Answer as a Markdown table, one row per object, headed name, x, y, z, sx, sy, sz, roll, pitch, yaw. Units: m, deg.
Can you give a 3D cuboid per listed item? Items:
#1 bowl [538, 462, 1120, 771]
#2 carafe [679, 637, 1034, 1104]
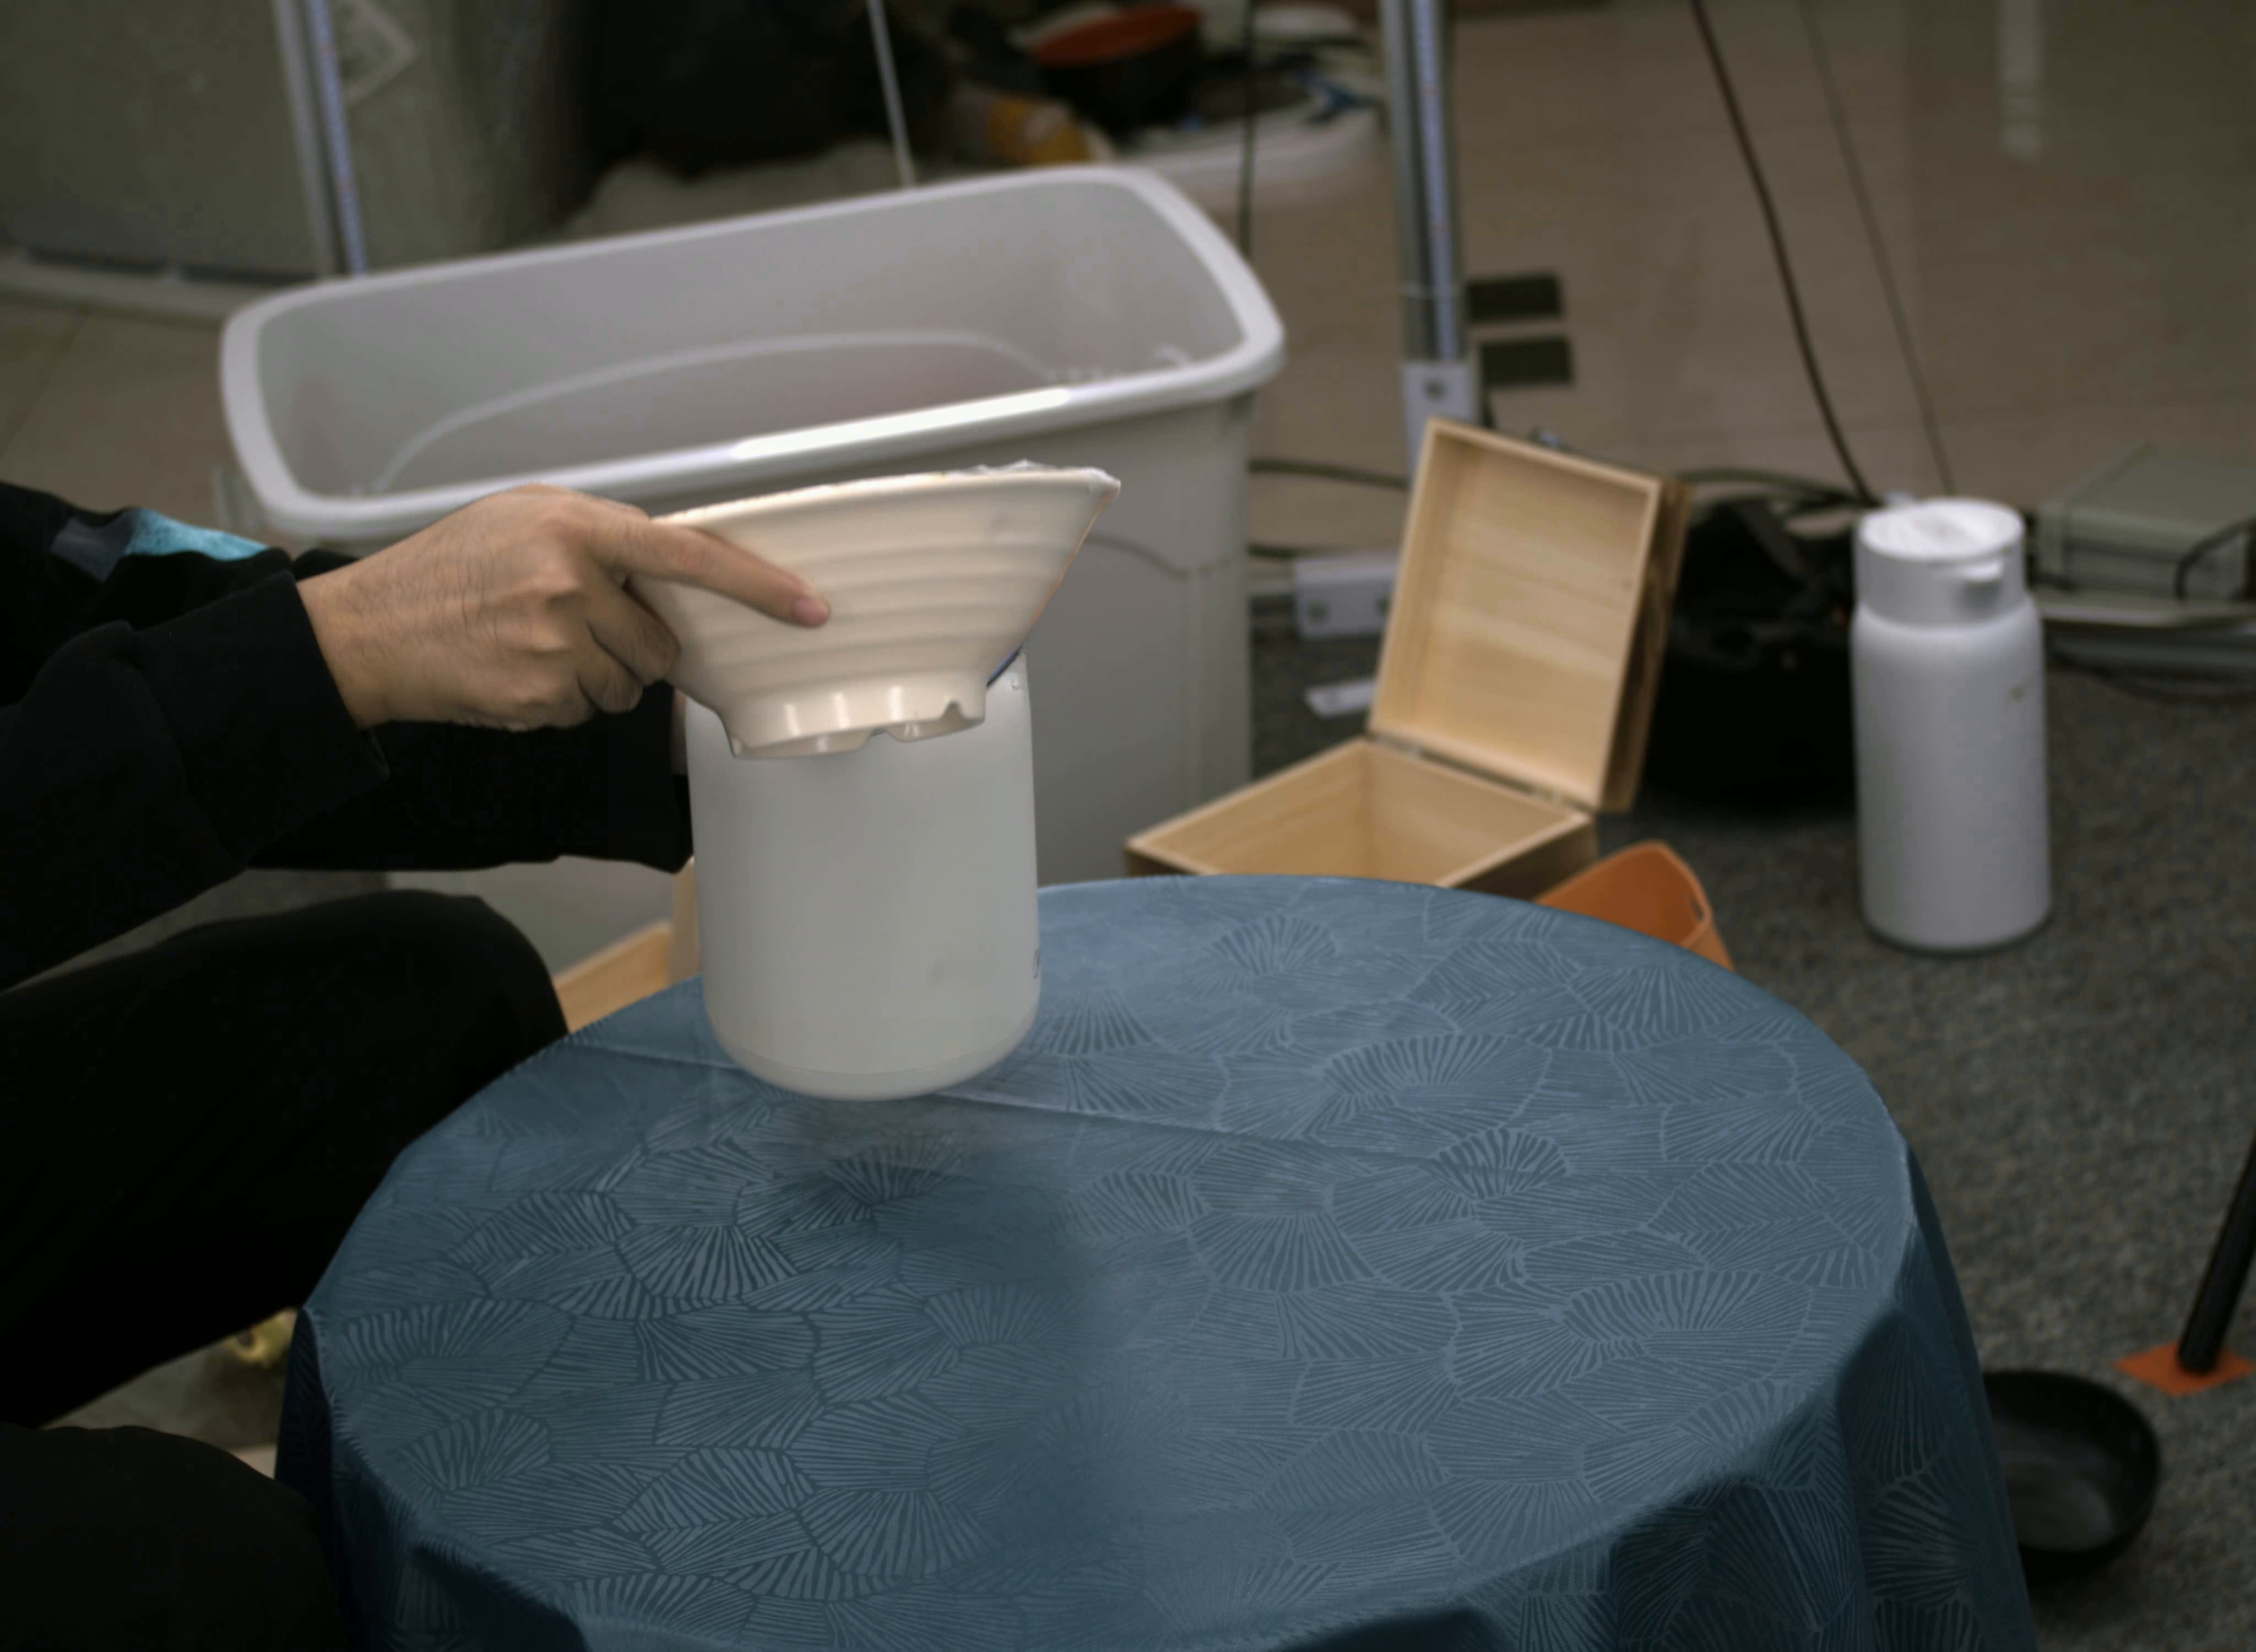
| name | x | y | z | sx | sy | sz | roll | pitch | yaw |
| --- | --- | --- | --- | --- | --- | --- | --- | --- | --- |
| bowl | -0.096 | -0.065 | 1.942 | 0.203 | 0.078 | 0.204 | -11 | -3 | 0 |
| carafe | -0.103 | -0.009 | 2.174 | 0.132 | 0.186 | 0.188 | 0 | 29 | 0 |
